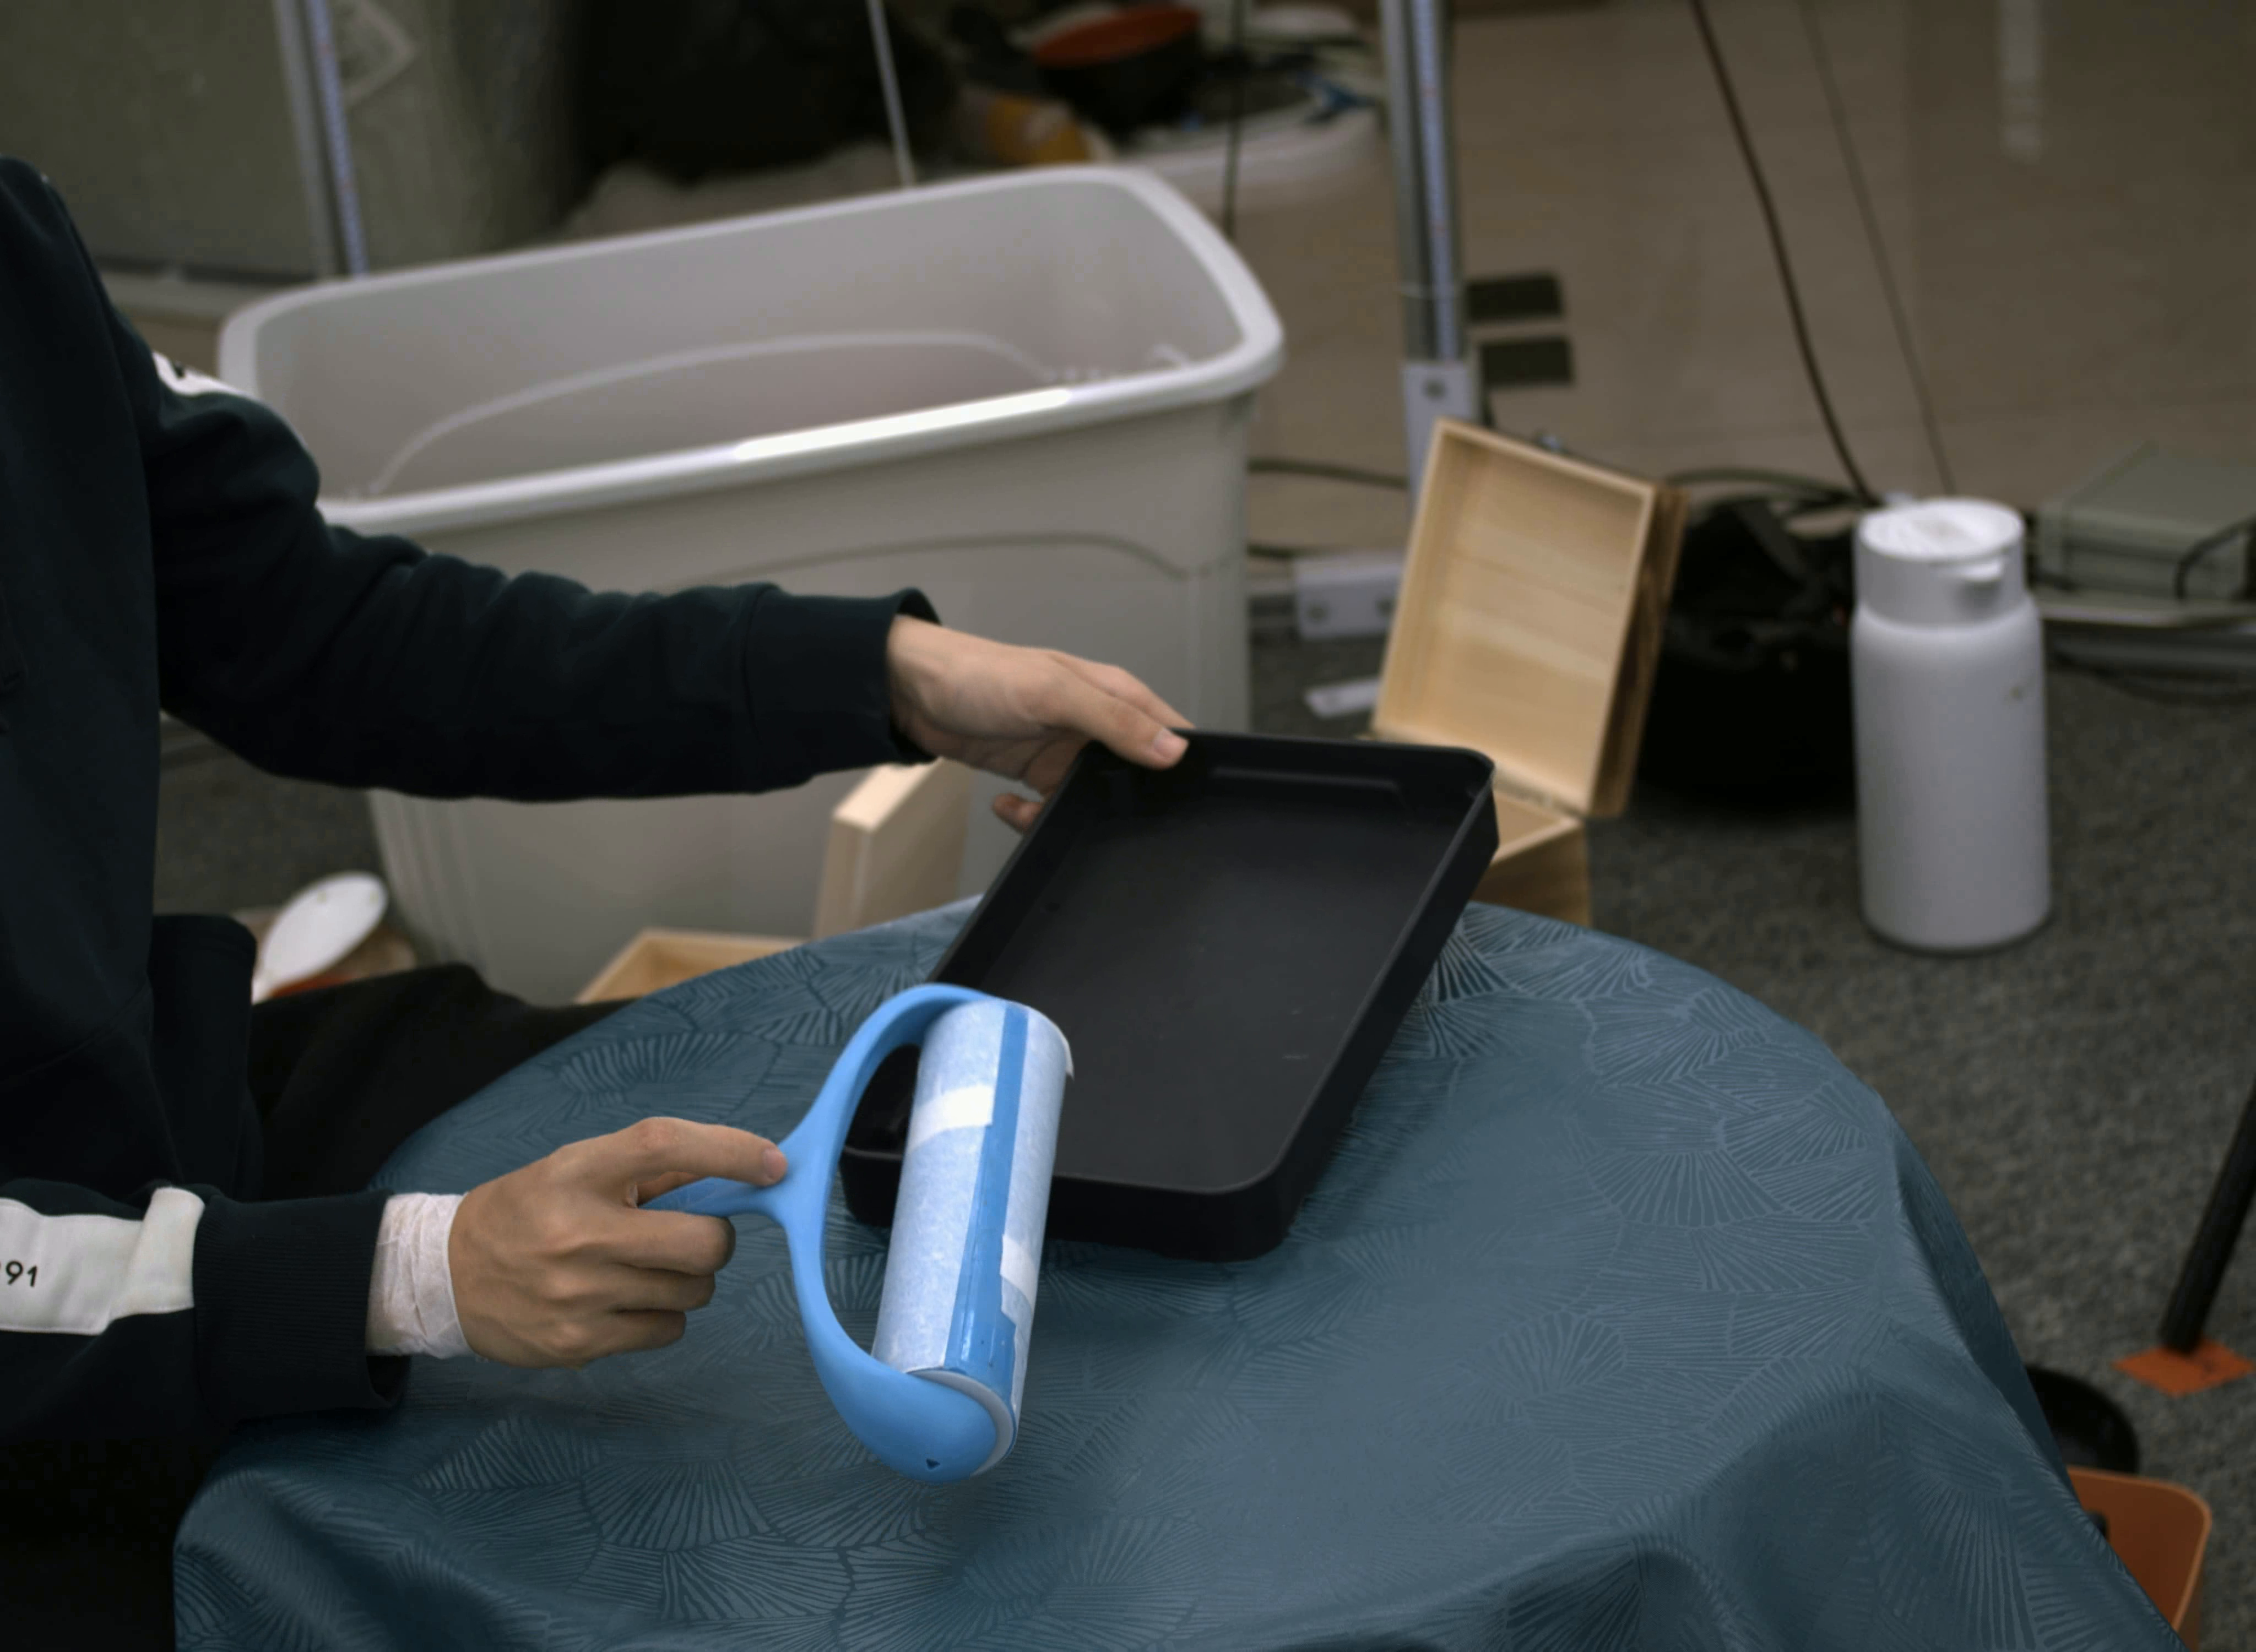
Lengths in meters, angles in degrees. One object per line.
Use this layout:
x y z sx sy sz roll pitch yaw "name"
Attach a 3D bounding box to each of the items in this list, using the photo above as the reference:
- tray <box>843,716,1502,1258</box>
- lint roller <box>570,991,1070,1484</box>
0.022 0.057 2.227 0.184 0.038 0.313 4 35 21 "tray"
-0.114 0.147 1.996 0.180 0.069 0.225 -4 40 6 "lint roller"
